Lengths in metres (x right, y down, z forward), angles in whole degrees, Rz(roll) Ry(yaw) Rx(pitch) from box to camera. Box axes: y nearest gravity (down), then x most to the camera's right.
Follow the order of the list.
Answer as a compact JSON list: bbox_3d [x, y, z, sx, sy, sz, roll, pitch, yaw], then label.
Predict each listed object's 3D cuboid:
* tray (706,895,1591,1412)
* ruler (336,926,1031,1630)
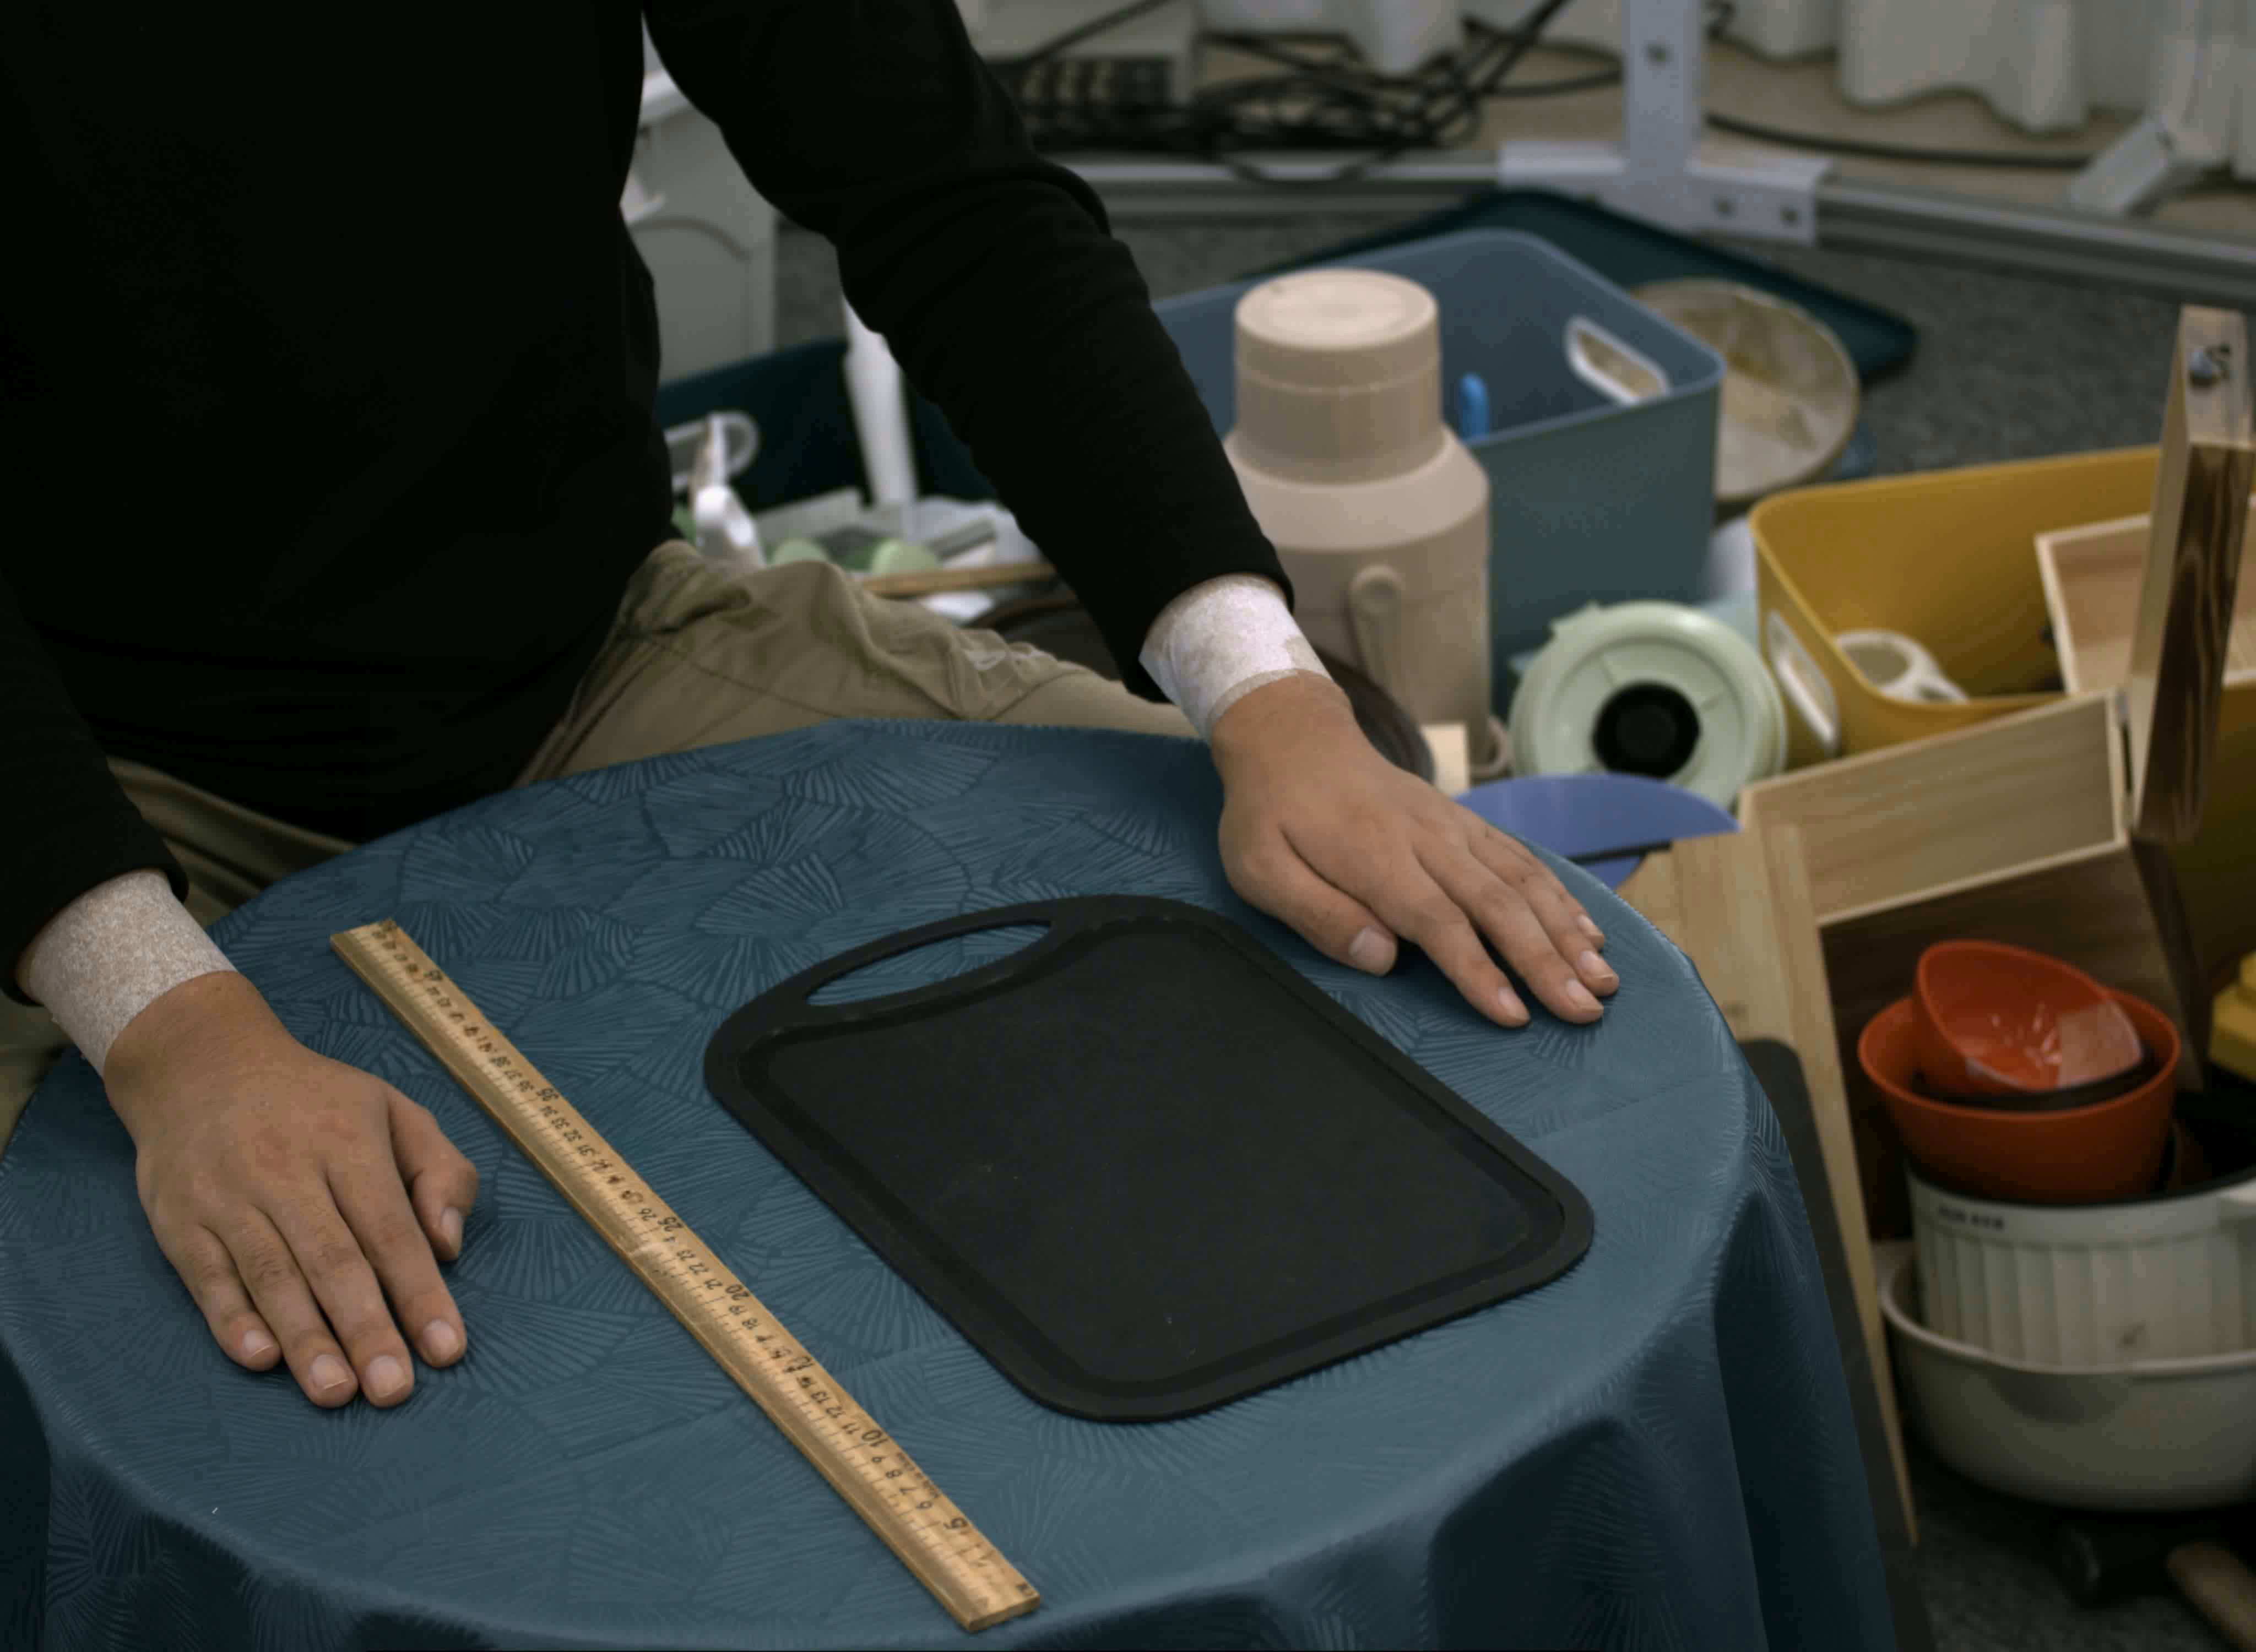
[{"bbox_3d":[-0.003,0.100,1.894,0.212,0.009,0.327,-17,30,-25],"label":"tray"},{"bbox_3d":[-0.157,0.136,1.844,0.027,0.006,0.503,-14,29,-25],"label":"ruler"}]
